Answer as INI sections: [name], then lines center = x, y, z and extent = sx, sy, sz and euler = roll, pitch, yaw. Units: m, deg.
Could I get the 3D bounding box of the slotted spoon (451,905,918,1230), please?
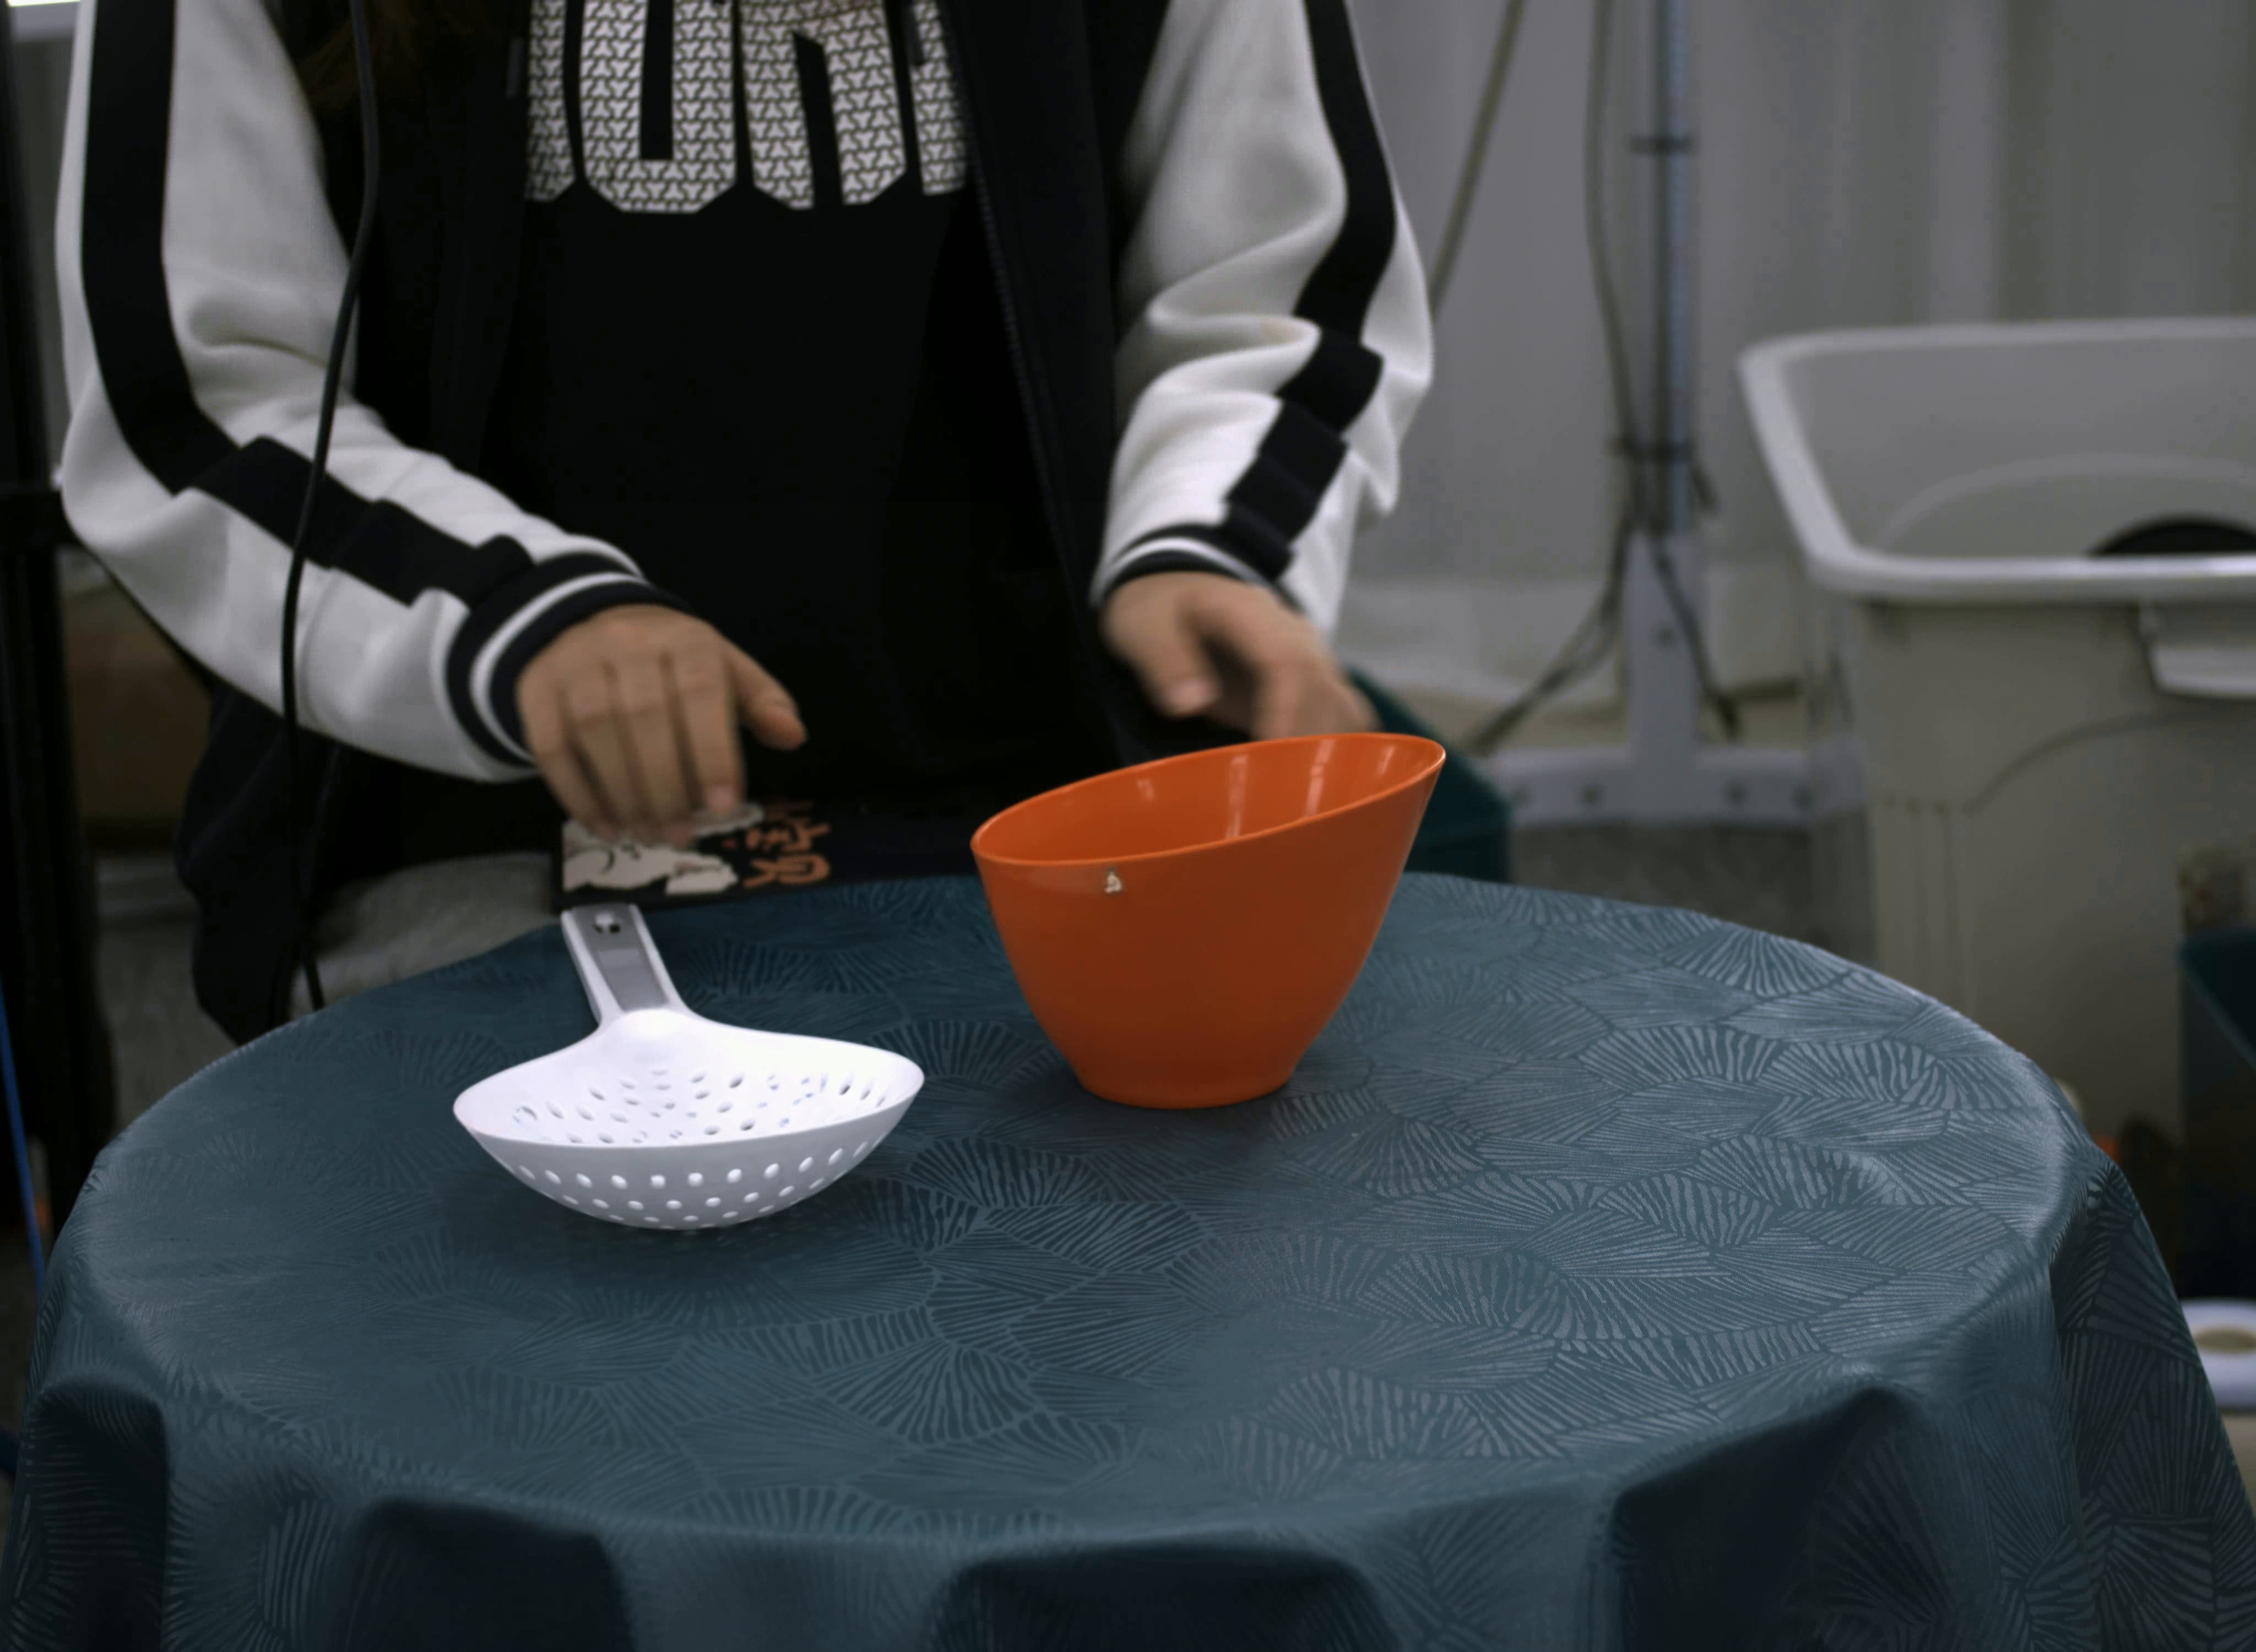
[slotted spoon]
center = -0.148, 0.065, 1.651
extent = 0.134, 0.046, 0.354
euler = -5, 15, -9

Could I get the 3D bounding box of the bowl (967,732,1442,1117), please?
[bowl]
center = 0.025, 0.032, 1.641
extent = 0.147, 0.104, 0.149
euler = -4, 17, 0
